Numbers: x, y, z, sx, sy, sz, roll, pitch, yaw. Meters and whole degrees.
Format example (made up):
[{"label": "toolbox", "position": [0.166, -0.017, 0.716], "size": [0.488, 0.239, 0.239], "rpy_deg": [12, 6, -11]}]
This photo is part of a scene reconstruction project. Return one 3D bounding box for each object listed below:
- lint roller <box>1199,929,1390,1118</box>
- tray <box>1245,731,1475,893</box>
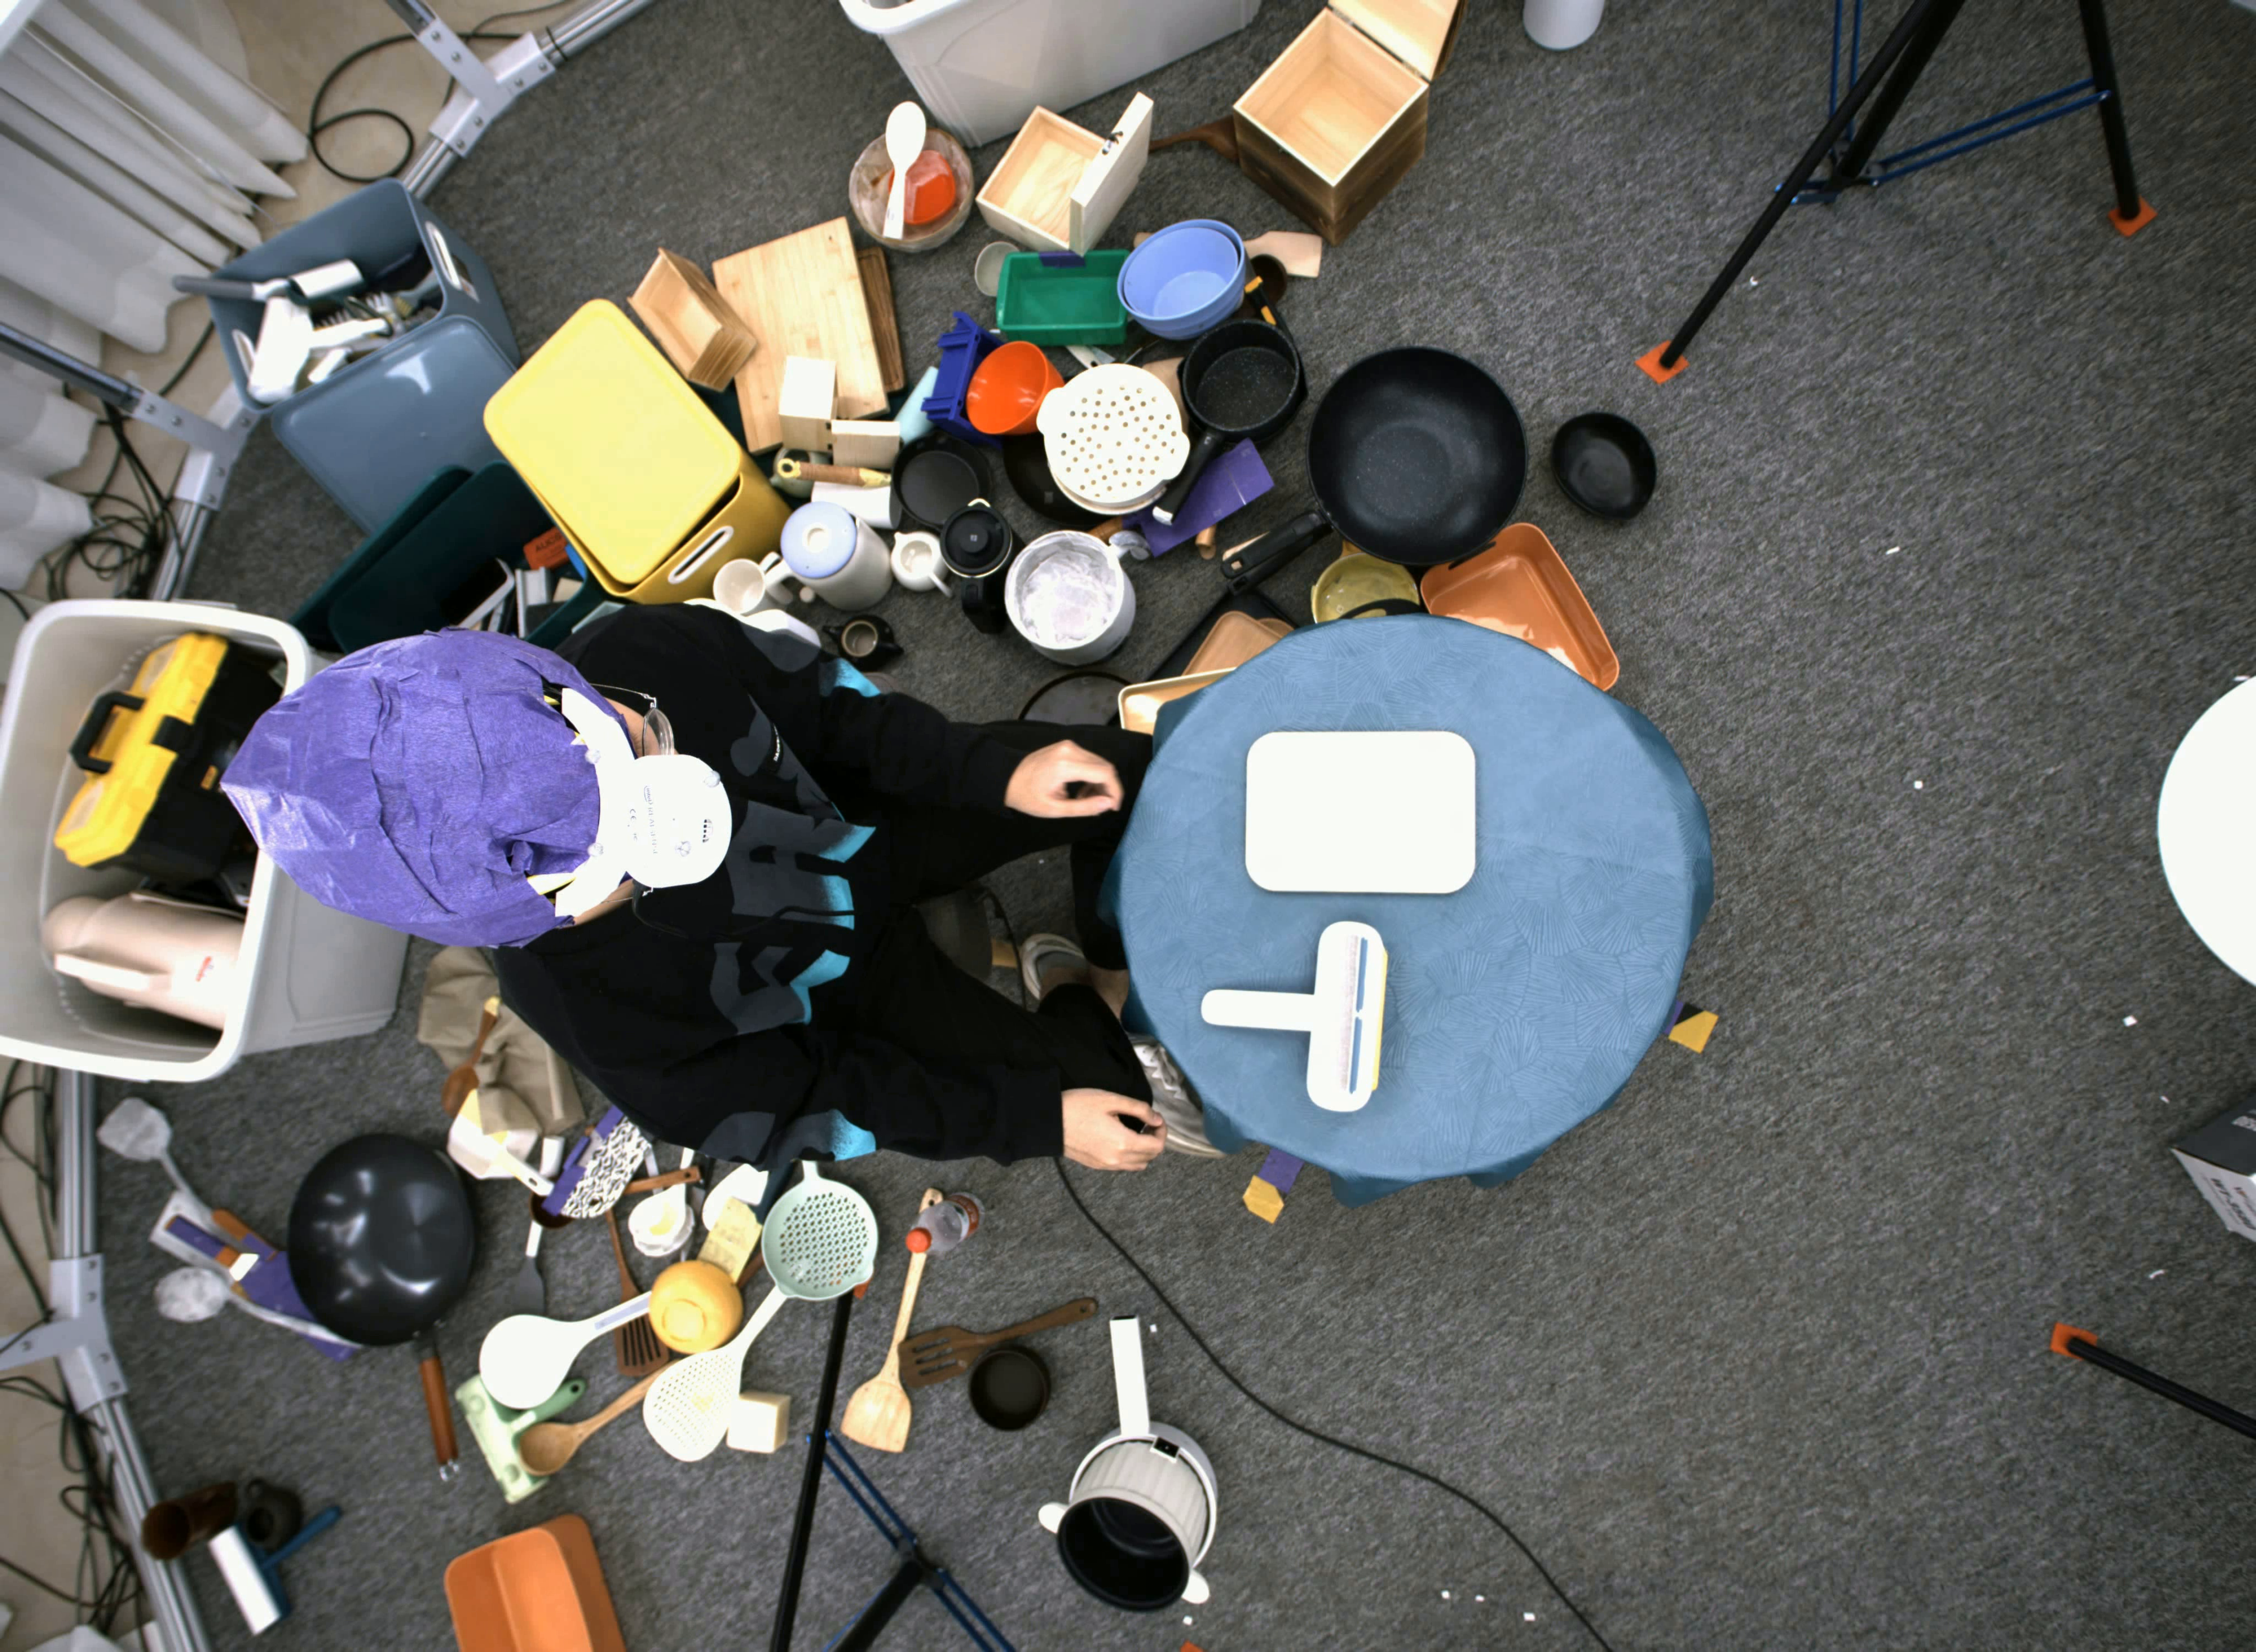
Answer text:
[{"label": "lint roller", "position": [0.166, 0.194, 1.434], "size": [0.193, 0.074, 0.191], "rpy_deg": [8, 83, 12]}, {"label": "tray", "position": [0.244, -0.017, 1.456], "size": [0.240, 0.017, 0.170], "rpy_deg": [1, 88, 10]}]
